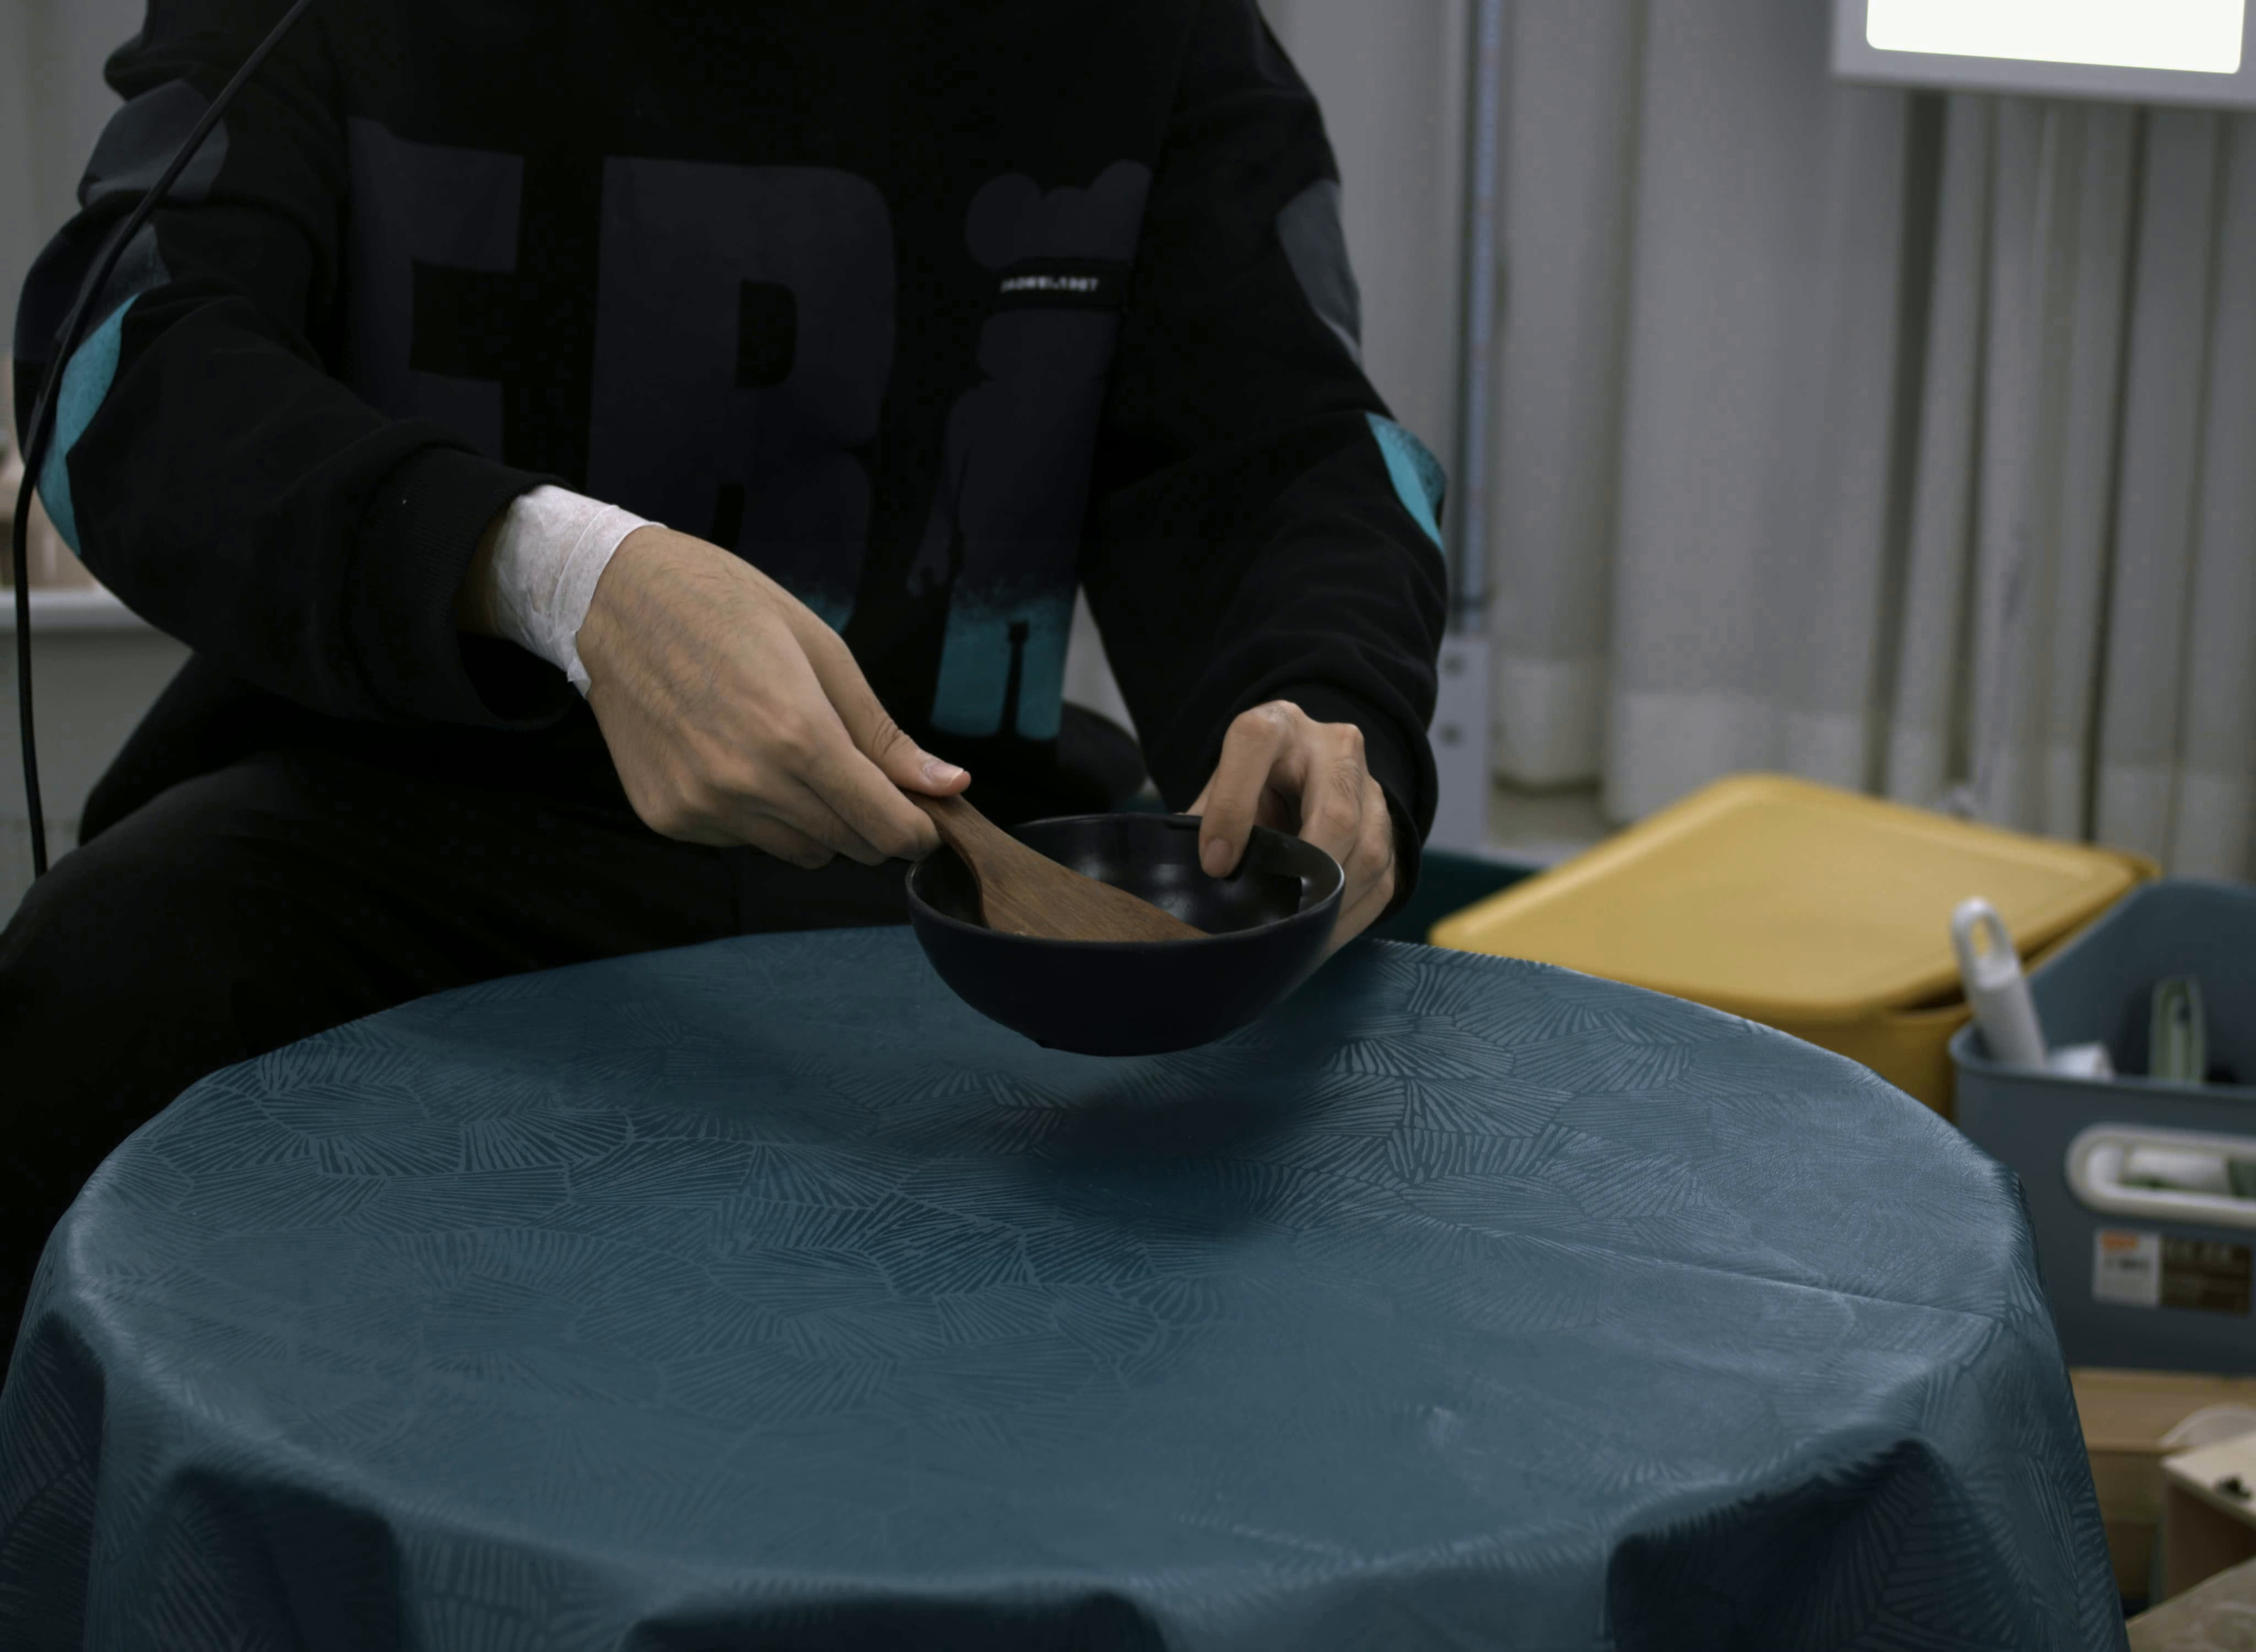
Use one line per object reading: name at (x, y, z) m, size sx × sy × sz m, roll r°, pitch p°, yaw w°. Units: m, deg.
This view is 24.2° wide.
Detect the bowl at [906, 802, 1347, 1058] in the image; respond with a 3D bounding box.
bowl at (0.000, 0.037, 1.657) m, size 0.139 × 0.050 × 0.139 m, roll -2°, pitch 19°, yaw 1°

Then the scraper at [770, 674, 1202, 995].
scraper at (-0.049, 0.002, 1.685) m, size 0.076 × 0.011 × 0.208 m, roll -6°, pitch 33°, yaw -41°
